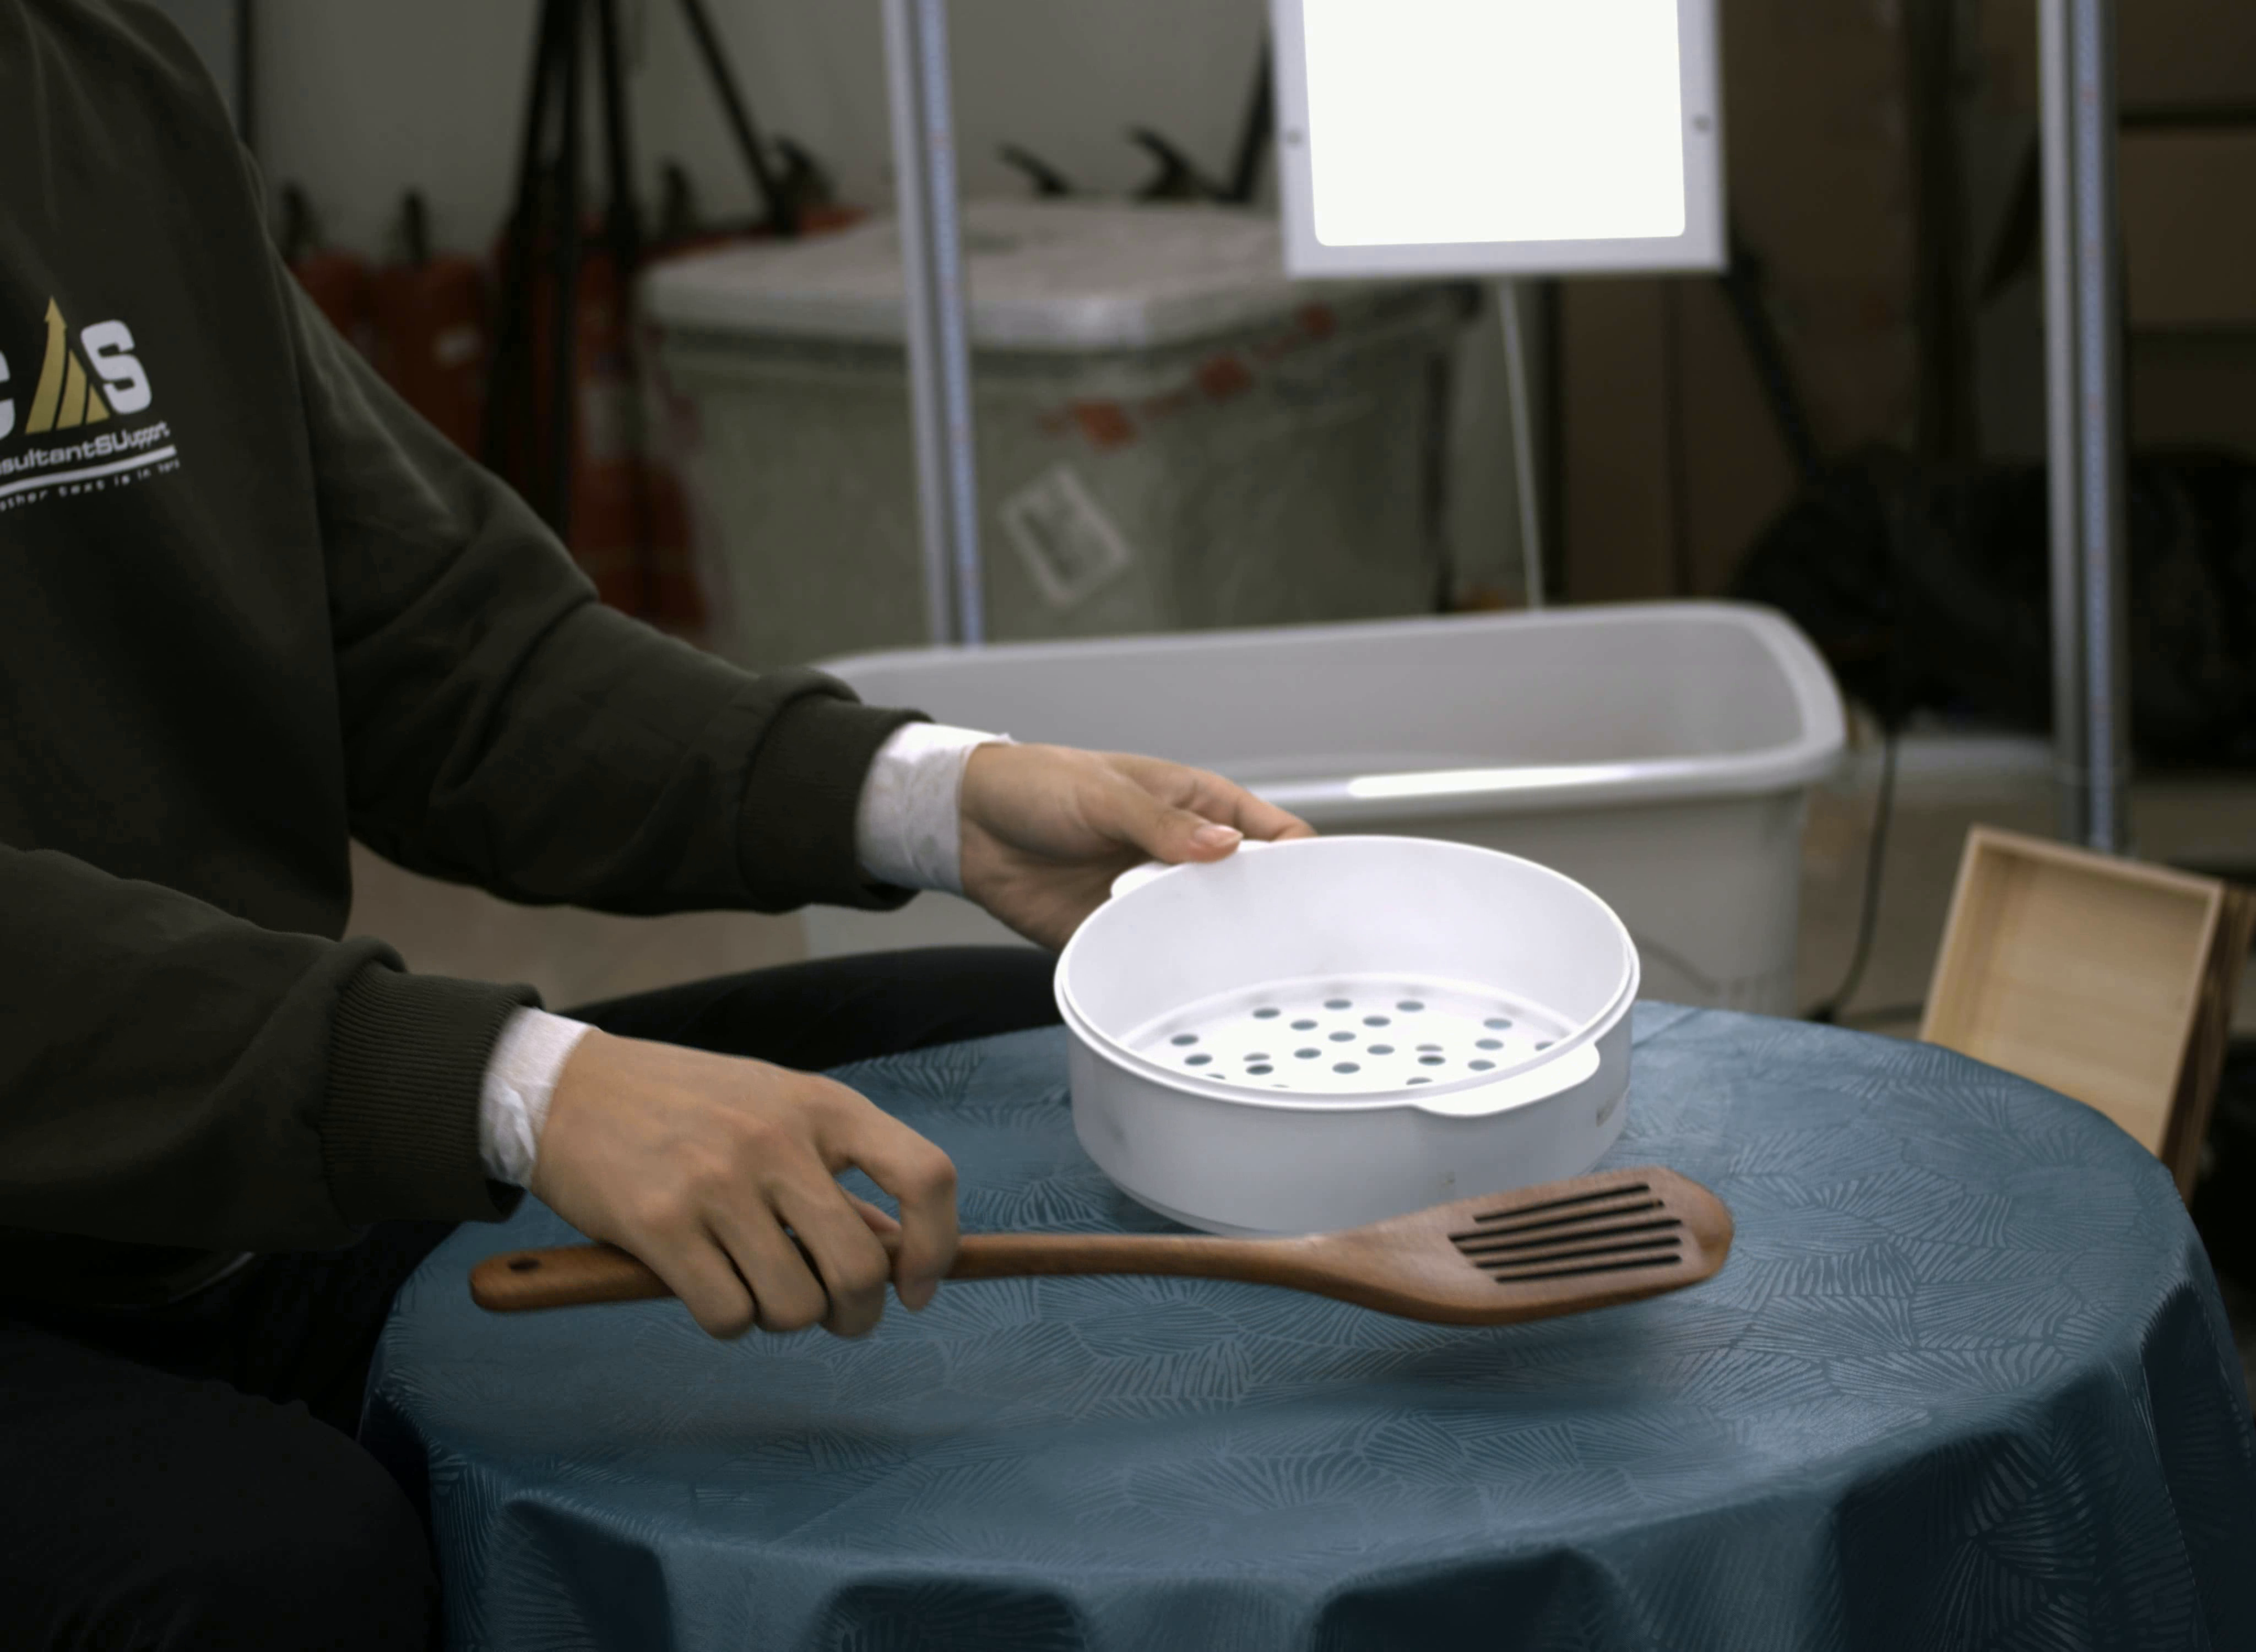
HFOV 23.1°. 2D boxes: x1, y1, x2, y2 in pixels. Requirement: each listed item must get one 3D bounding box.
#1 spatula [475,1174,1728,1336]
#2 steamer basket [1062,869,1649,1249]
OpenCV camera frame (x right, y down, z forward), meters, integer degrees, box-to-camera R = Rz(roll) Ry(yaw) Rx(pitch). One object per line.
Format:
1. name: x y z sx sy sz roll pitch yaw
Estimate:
1. spatula: -0.007 0.138 1.688 0.383 0.024 0.086 -2 21 -3
2. steamer basket: 0.079 0.080 1.887 0.197 0.069 0.234 -15 23 -26
